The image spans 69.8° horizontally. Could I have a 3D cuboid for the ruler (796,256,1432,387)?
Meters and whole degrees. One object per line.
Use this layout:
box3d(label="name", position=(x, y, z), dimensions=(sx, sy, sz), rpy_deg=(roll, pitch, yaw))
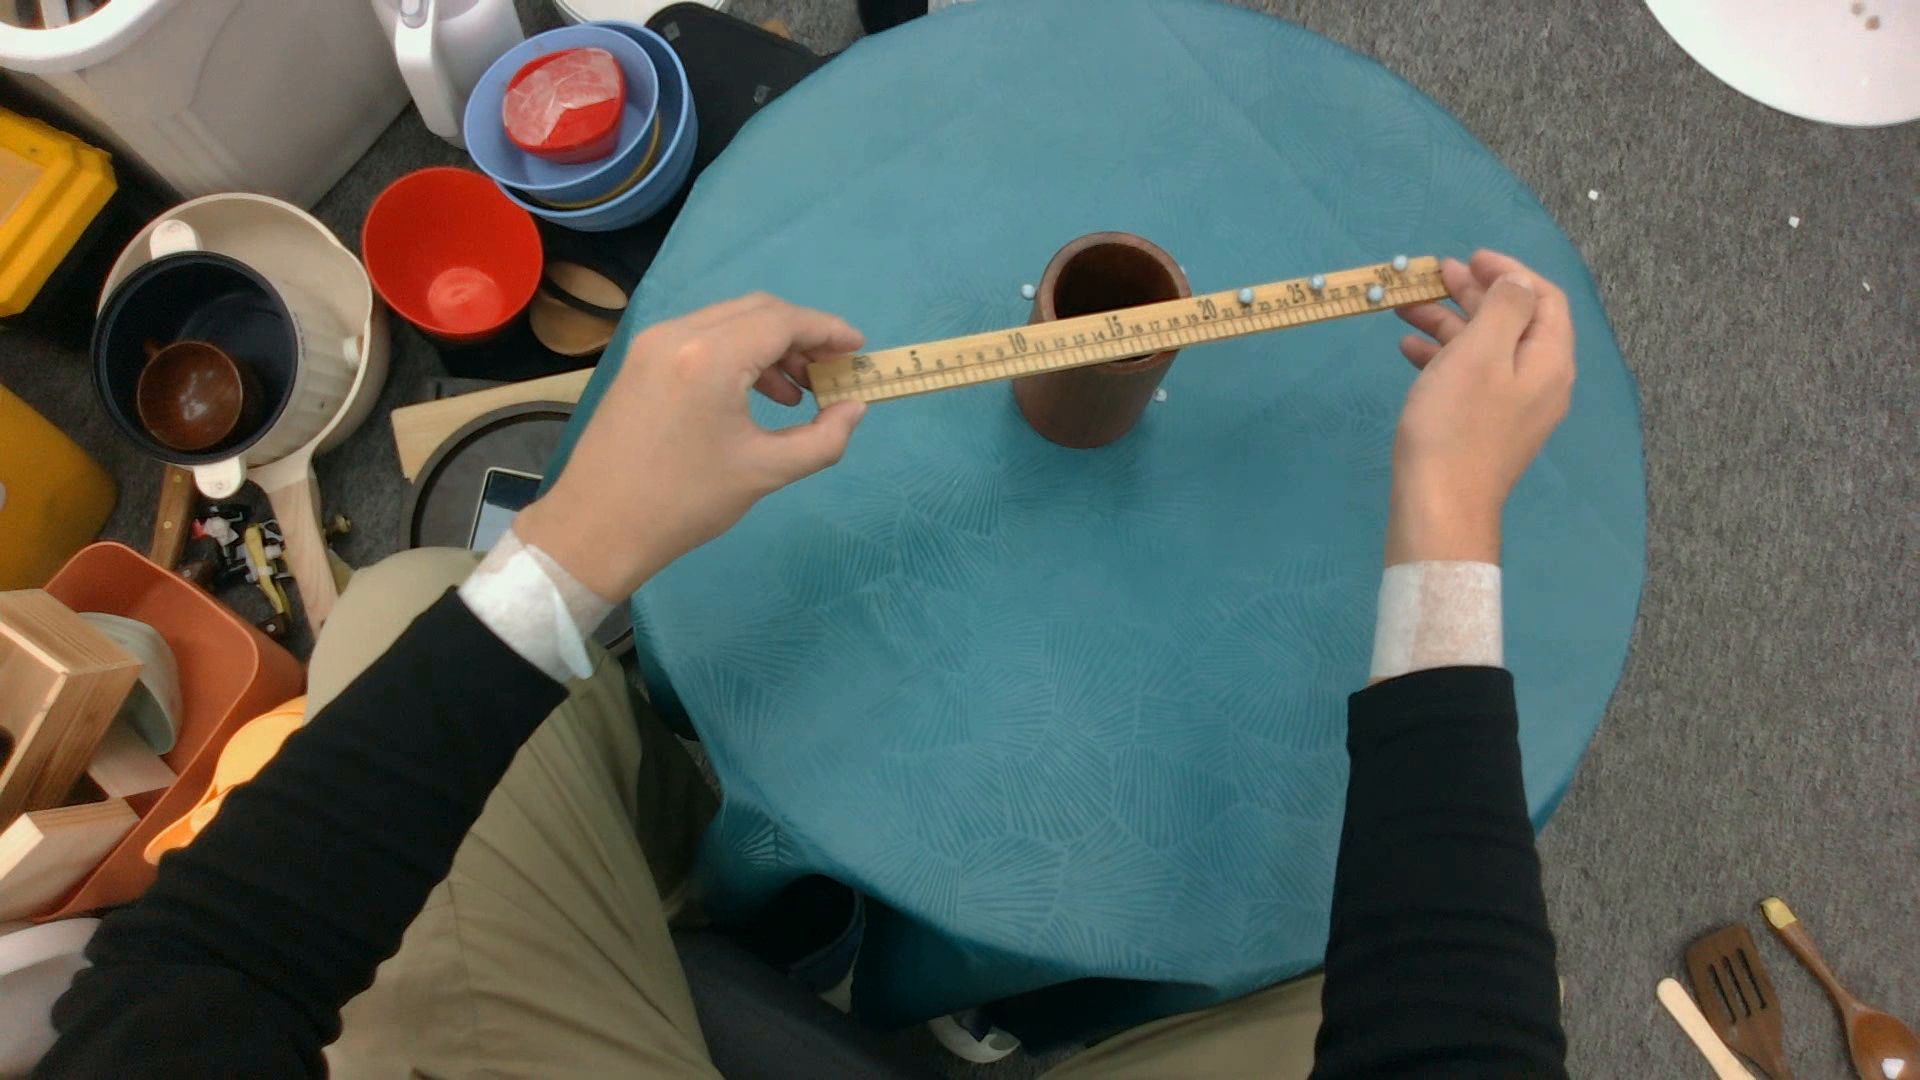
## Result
box3d(label="ruler", position=(0.086, -0.109, 0.666), dimensions=(0.332, 0.022, 0.027), rpy_deg=(-11, 62, -17))

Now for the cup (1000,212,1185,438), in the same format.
box3d(label="cup", position=(0.068, -0.112, 0.741), dimensions=(0.088, 0.118, 0.088), rpy_deg=(1, 74, -5))
